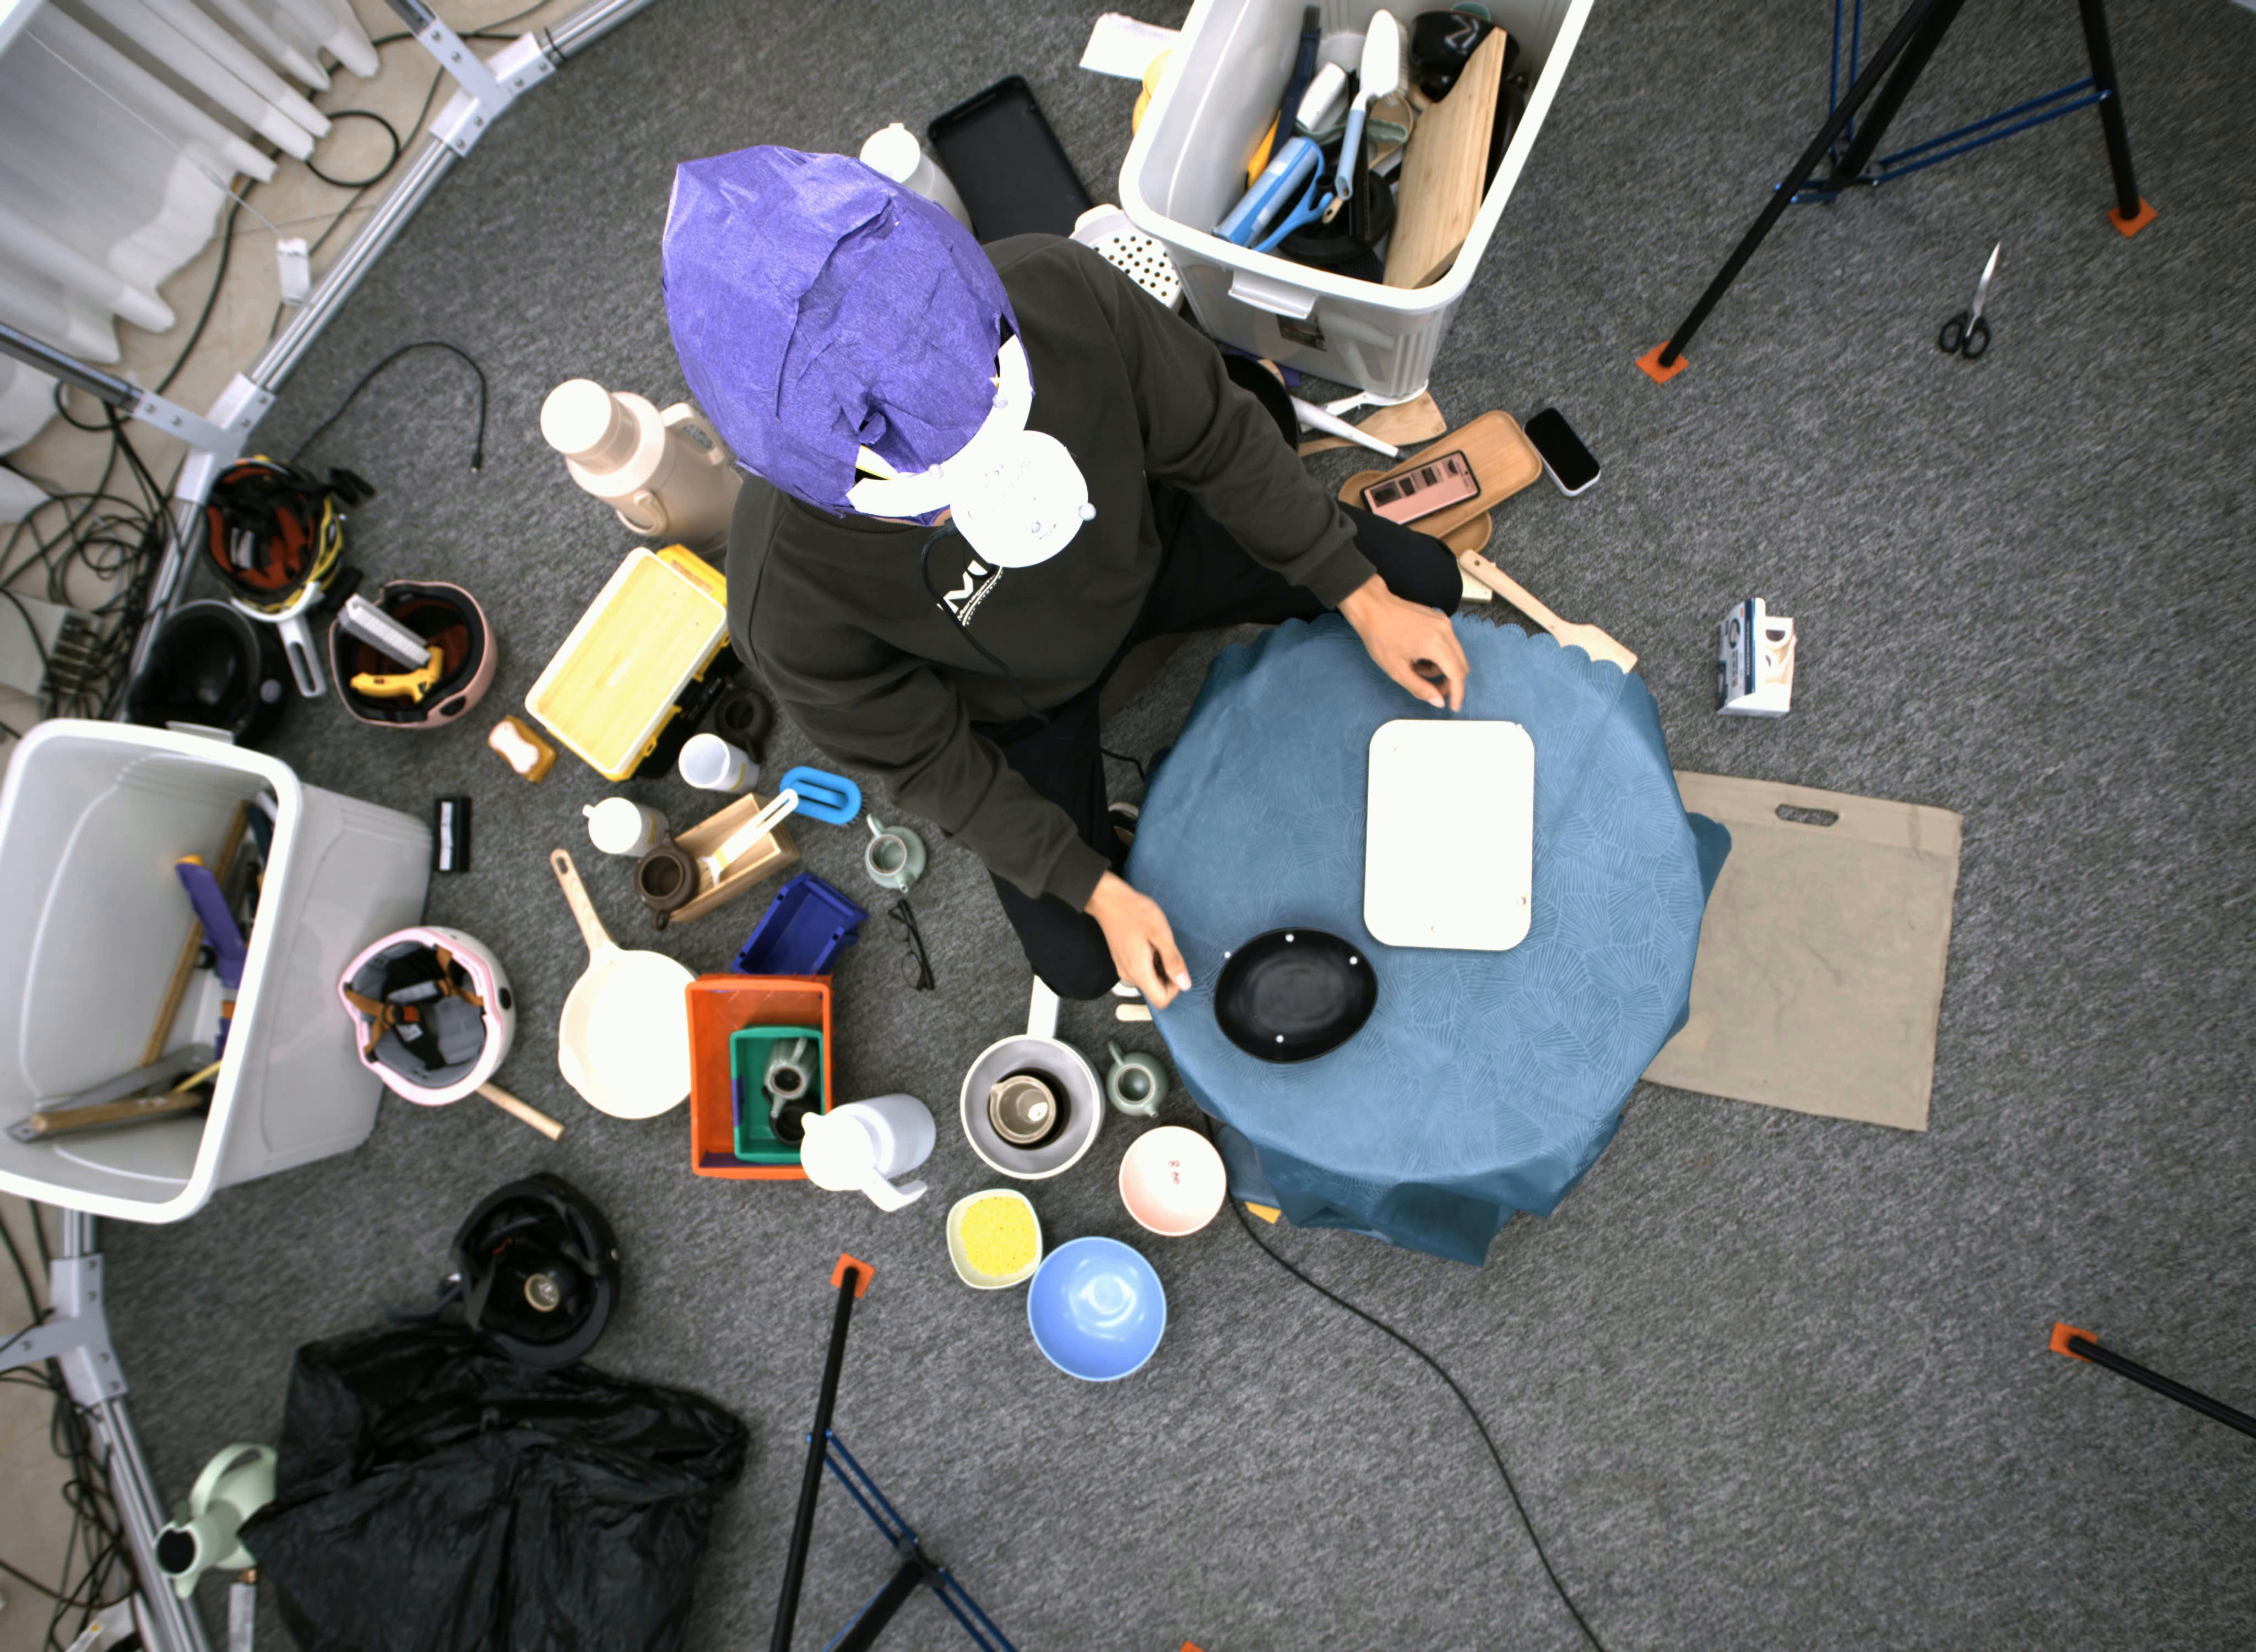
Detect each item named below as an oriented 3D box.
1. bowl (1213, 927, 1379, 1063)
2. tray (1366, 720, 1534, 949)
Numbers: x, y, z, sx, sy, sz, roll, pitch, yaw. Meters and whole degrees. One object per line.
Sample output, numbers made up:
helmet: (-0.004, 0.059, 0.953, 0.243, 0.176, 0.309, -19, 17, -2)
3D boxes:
bowl: (0.174, 0.173, 1.440, 0.171, 0.067, 0.136, -14, 85, 8)
tray: (0.337, 0.006, 1.442, 0.172, 0.017, 0.238, 2, 87, 12)
